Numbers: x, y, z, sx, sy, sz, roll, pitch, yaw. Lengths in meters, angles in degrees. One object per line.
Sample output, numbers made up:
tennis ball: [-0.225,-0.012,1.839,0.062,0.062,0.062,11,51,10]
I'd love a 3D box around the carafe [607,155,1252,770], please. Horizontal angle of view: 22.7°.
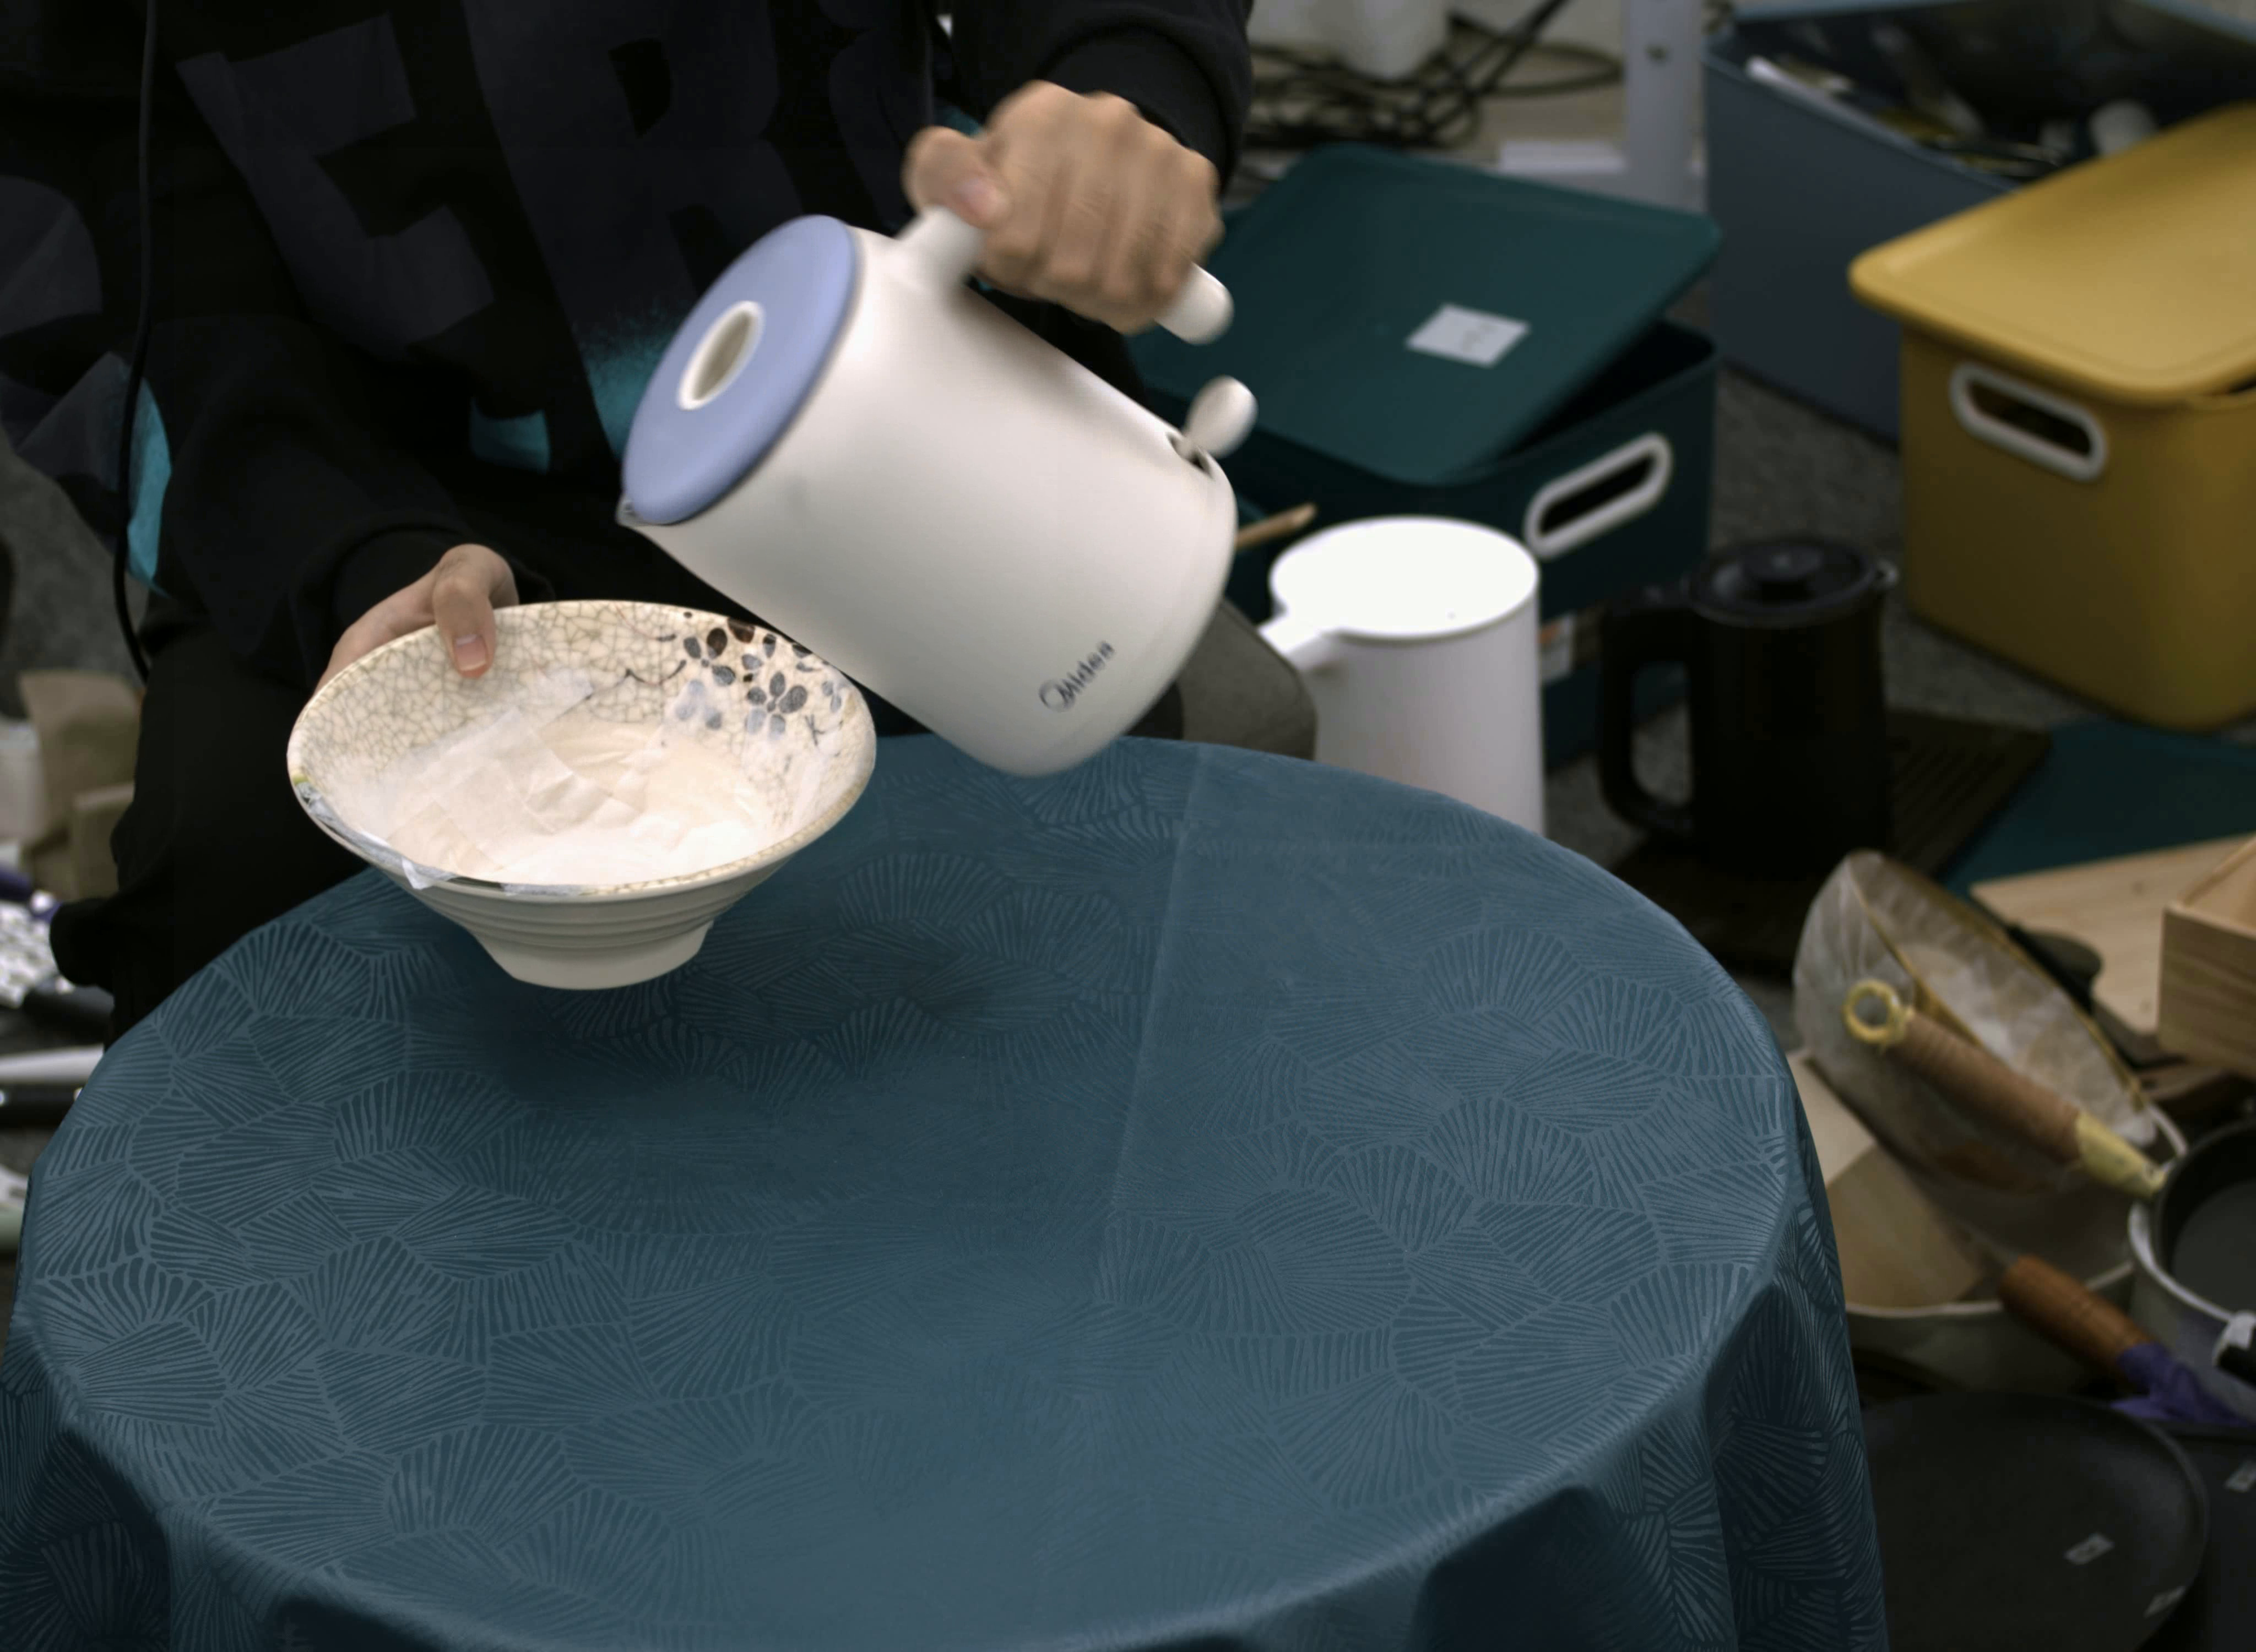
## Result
carafe: [-0.054,-0.130,1.881,0.181,0.189,0.134,35,18,-27]

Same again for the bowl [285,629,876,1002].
bowl: [-0.189,0.007,1.954,0.203,0.077,0.207,2,25,0]
